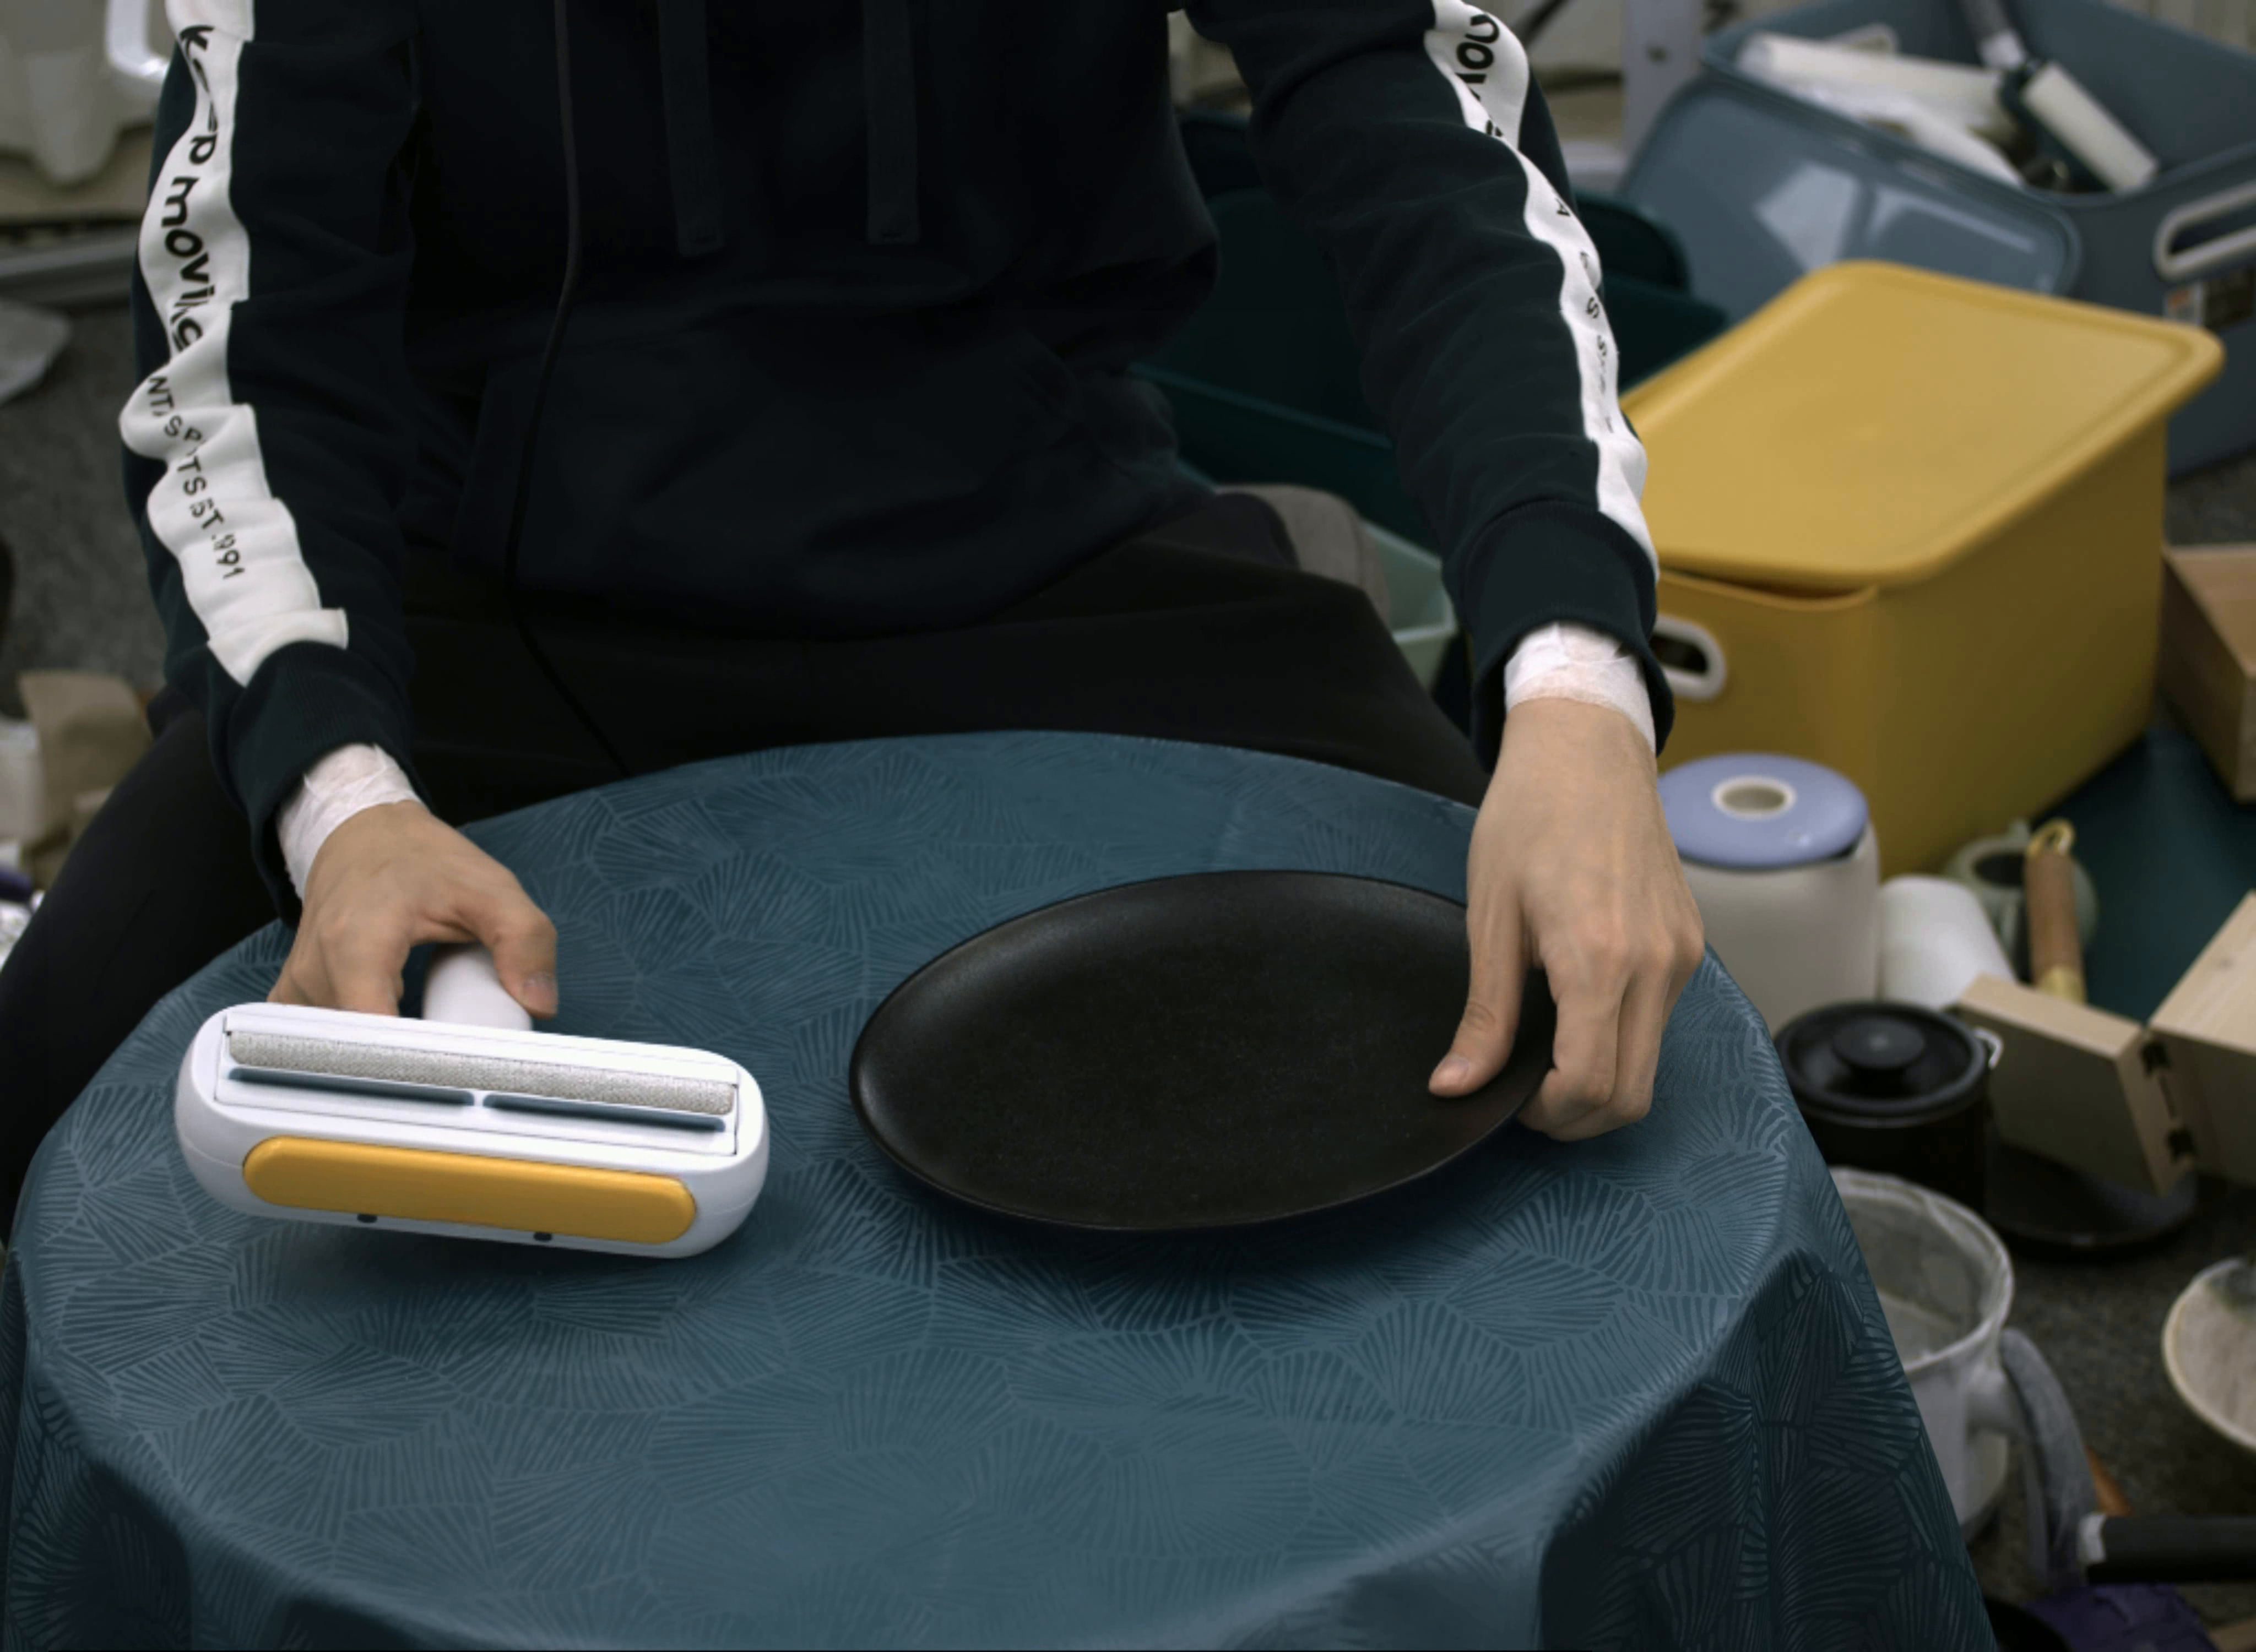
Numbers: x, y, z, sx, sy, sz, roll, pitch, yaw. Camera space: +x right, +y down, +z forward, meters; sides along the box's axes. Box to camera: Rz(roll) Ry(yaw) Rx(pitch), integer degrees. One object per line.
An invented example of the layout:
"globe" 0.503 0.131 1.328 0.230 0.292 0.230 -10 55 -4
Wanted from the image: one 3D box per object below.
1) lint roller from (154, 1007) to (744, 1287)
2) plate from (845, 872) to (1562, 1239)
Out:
"lint roller" -0.221 0.095 1.890 0.192 0.074 0.194 7 16 -2
"plate" 0.026 0.082 1.900 0.243 0.023 0.248 -4 27 3
